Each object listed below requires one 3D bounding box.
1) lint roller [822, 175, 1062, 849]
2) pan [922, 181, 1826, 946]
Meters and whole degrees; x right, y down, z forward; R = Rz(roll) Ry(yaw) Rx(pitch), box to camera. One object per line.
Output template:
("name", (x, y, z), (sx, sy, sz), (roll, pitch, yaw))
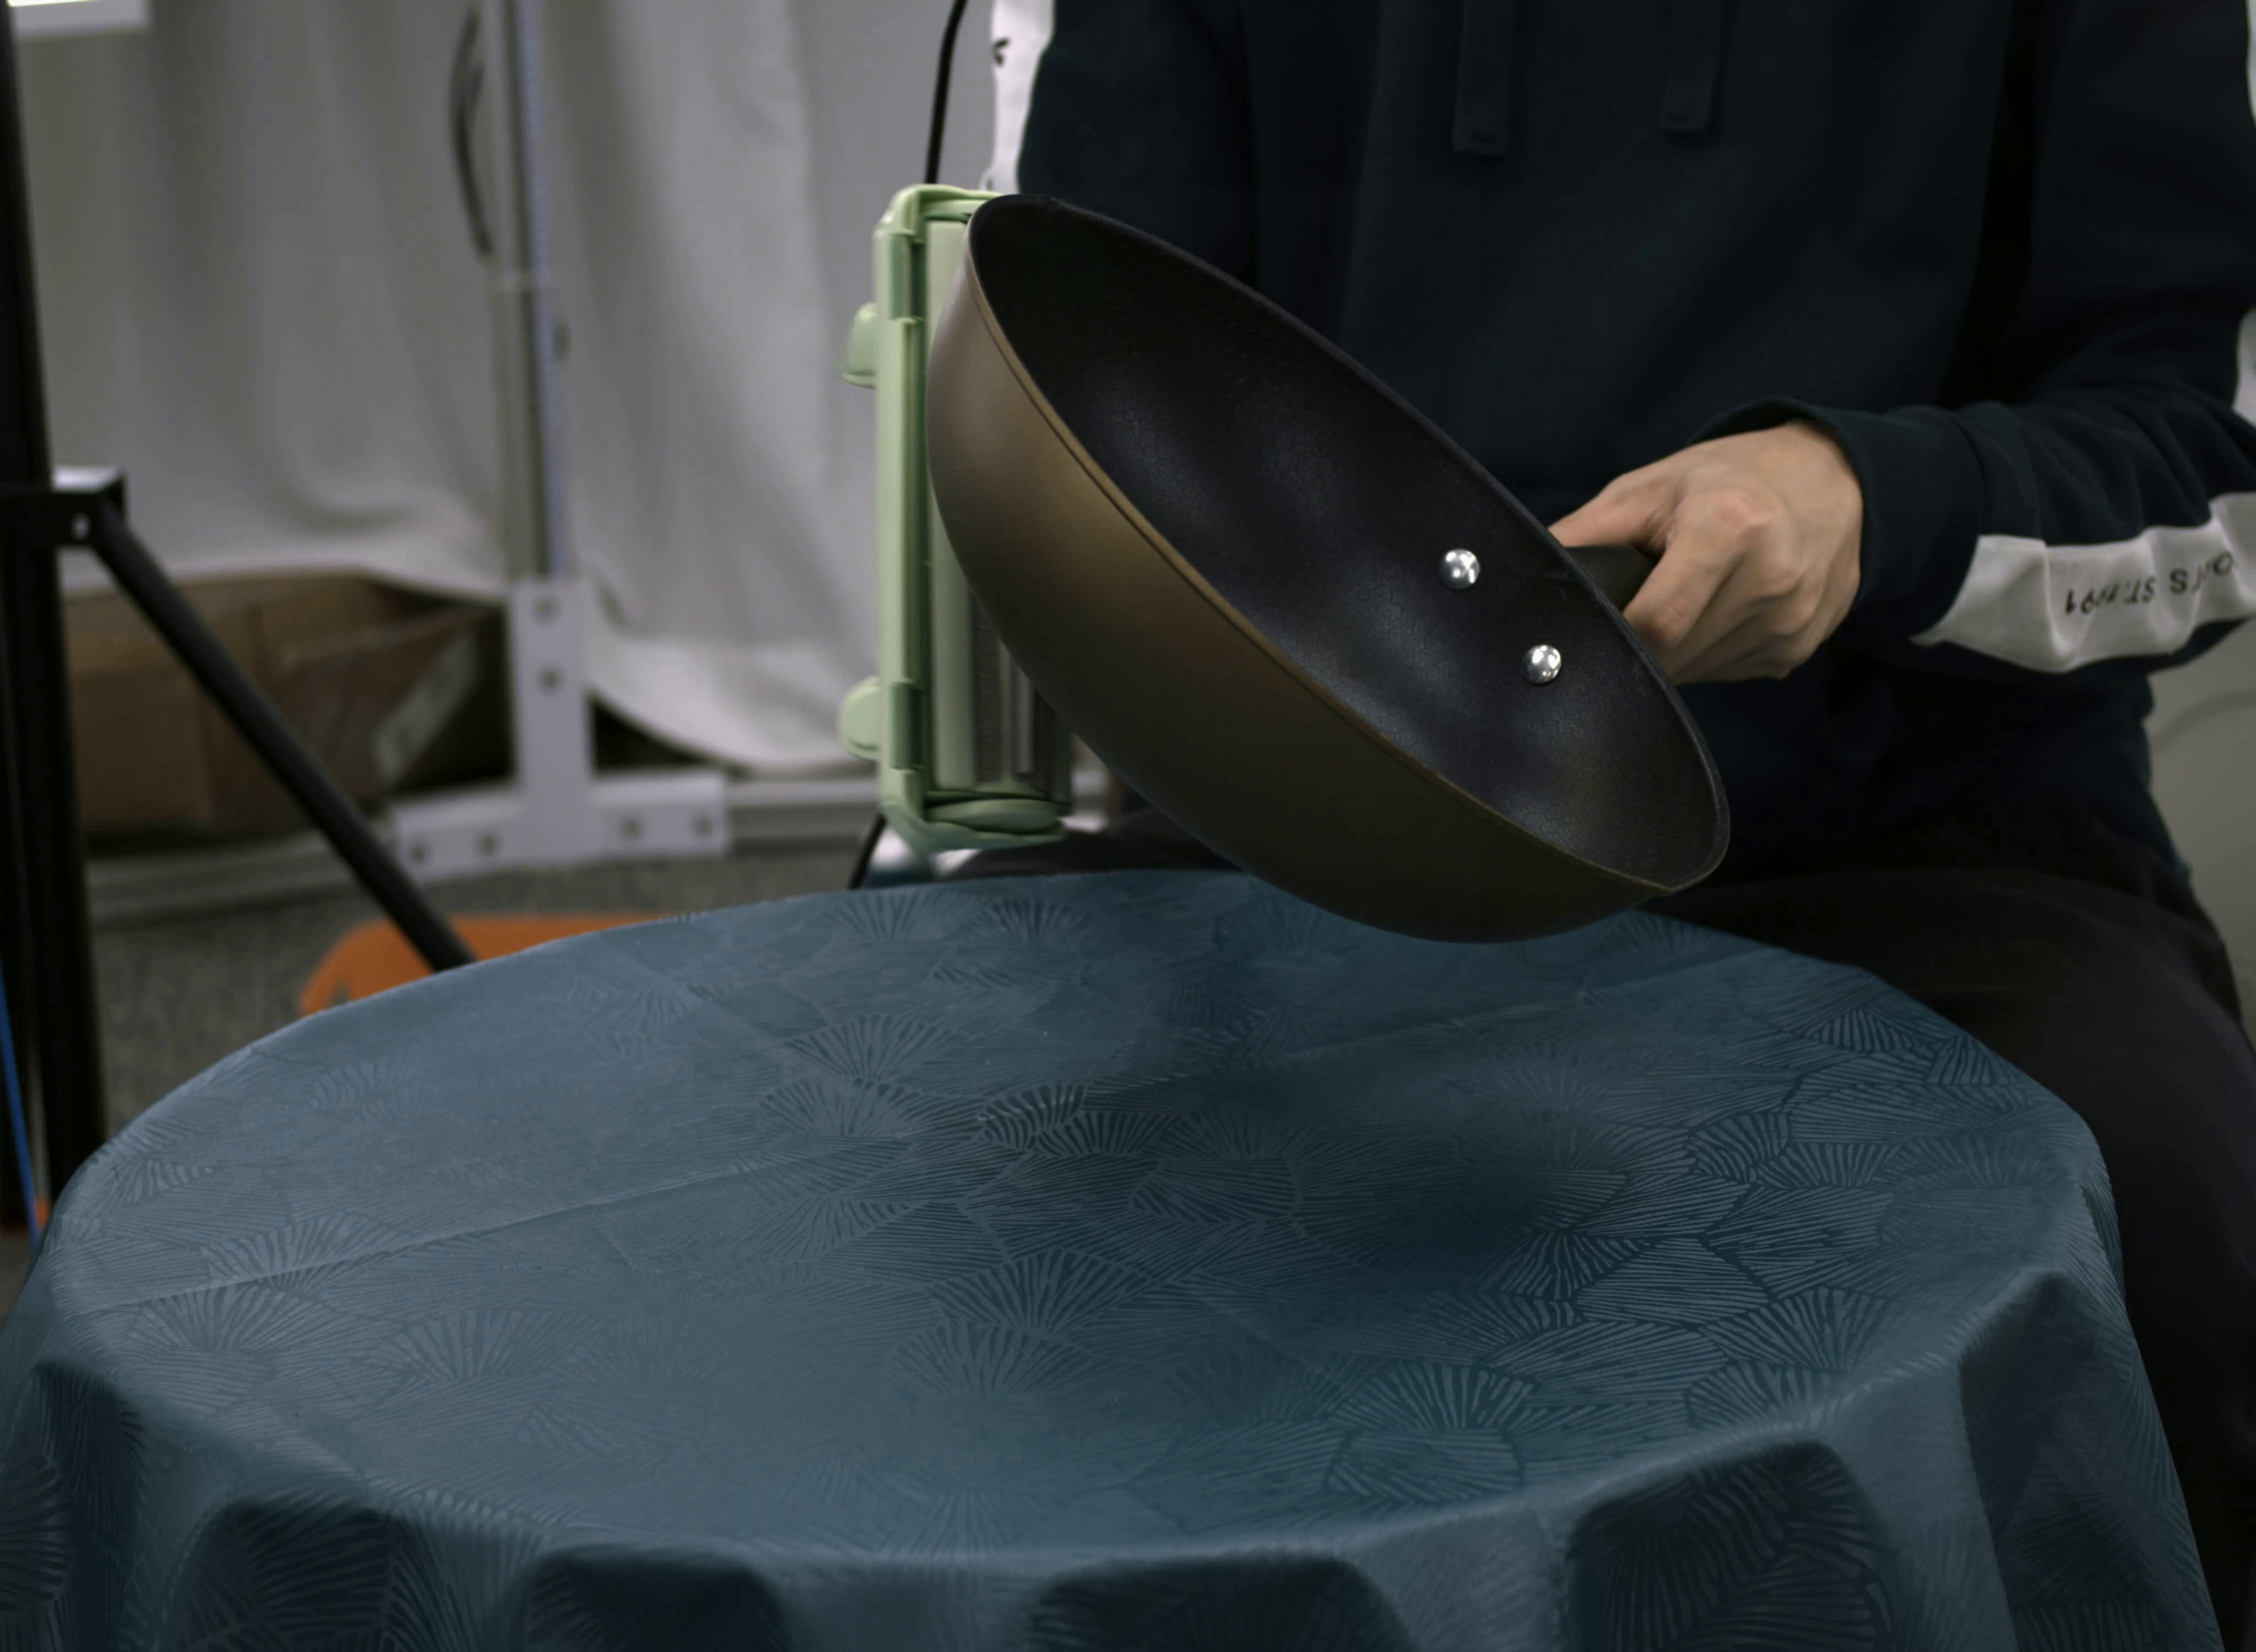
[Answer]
("lint roller", (-0.042, -0.083, 1.649), (0.083, 0.200, 0.180), (-4, -11, 16))
("pan", (0.086, -0.056, 1.601), (0.293, 0.087, 0.452), (50, 21, 23))
